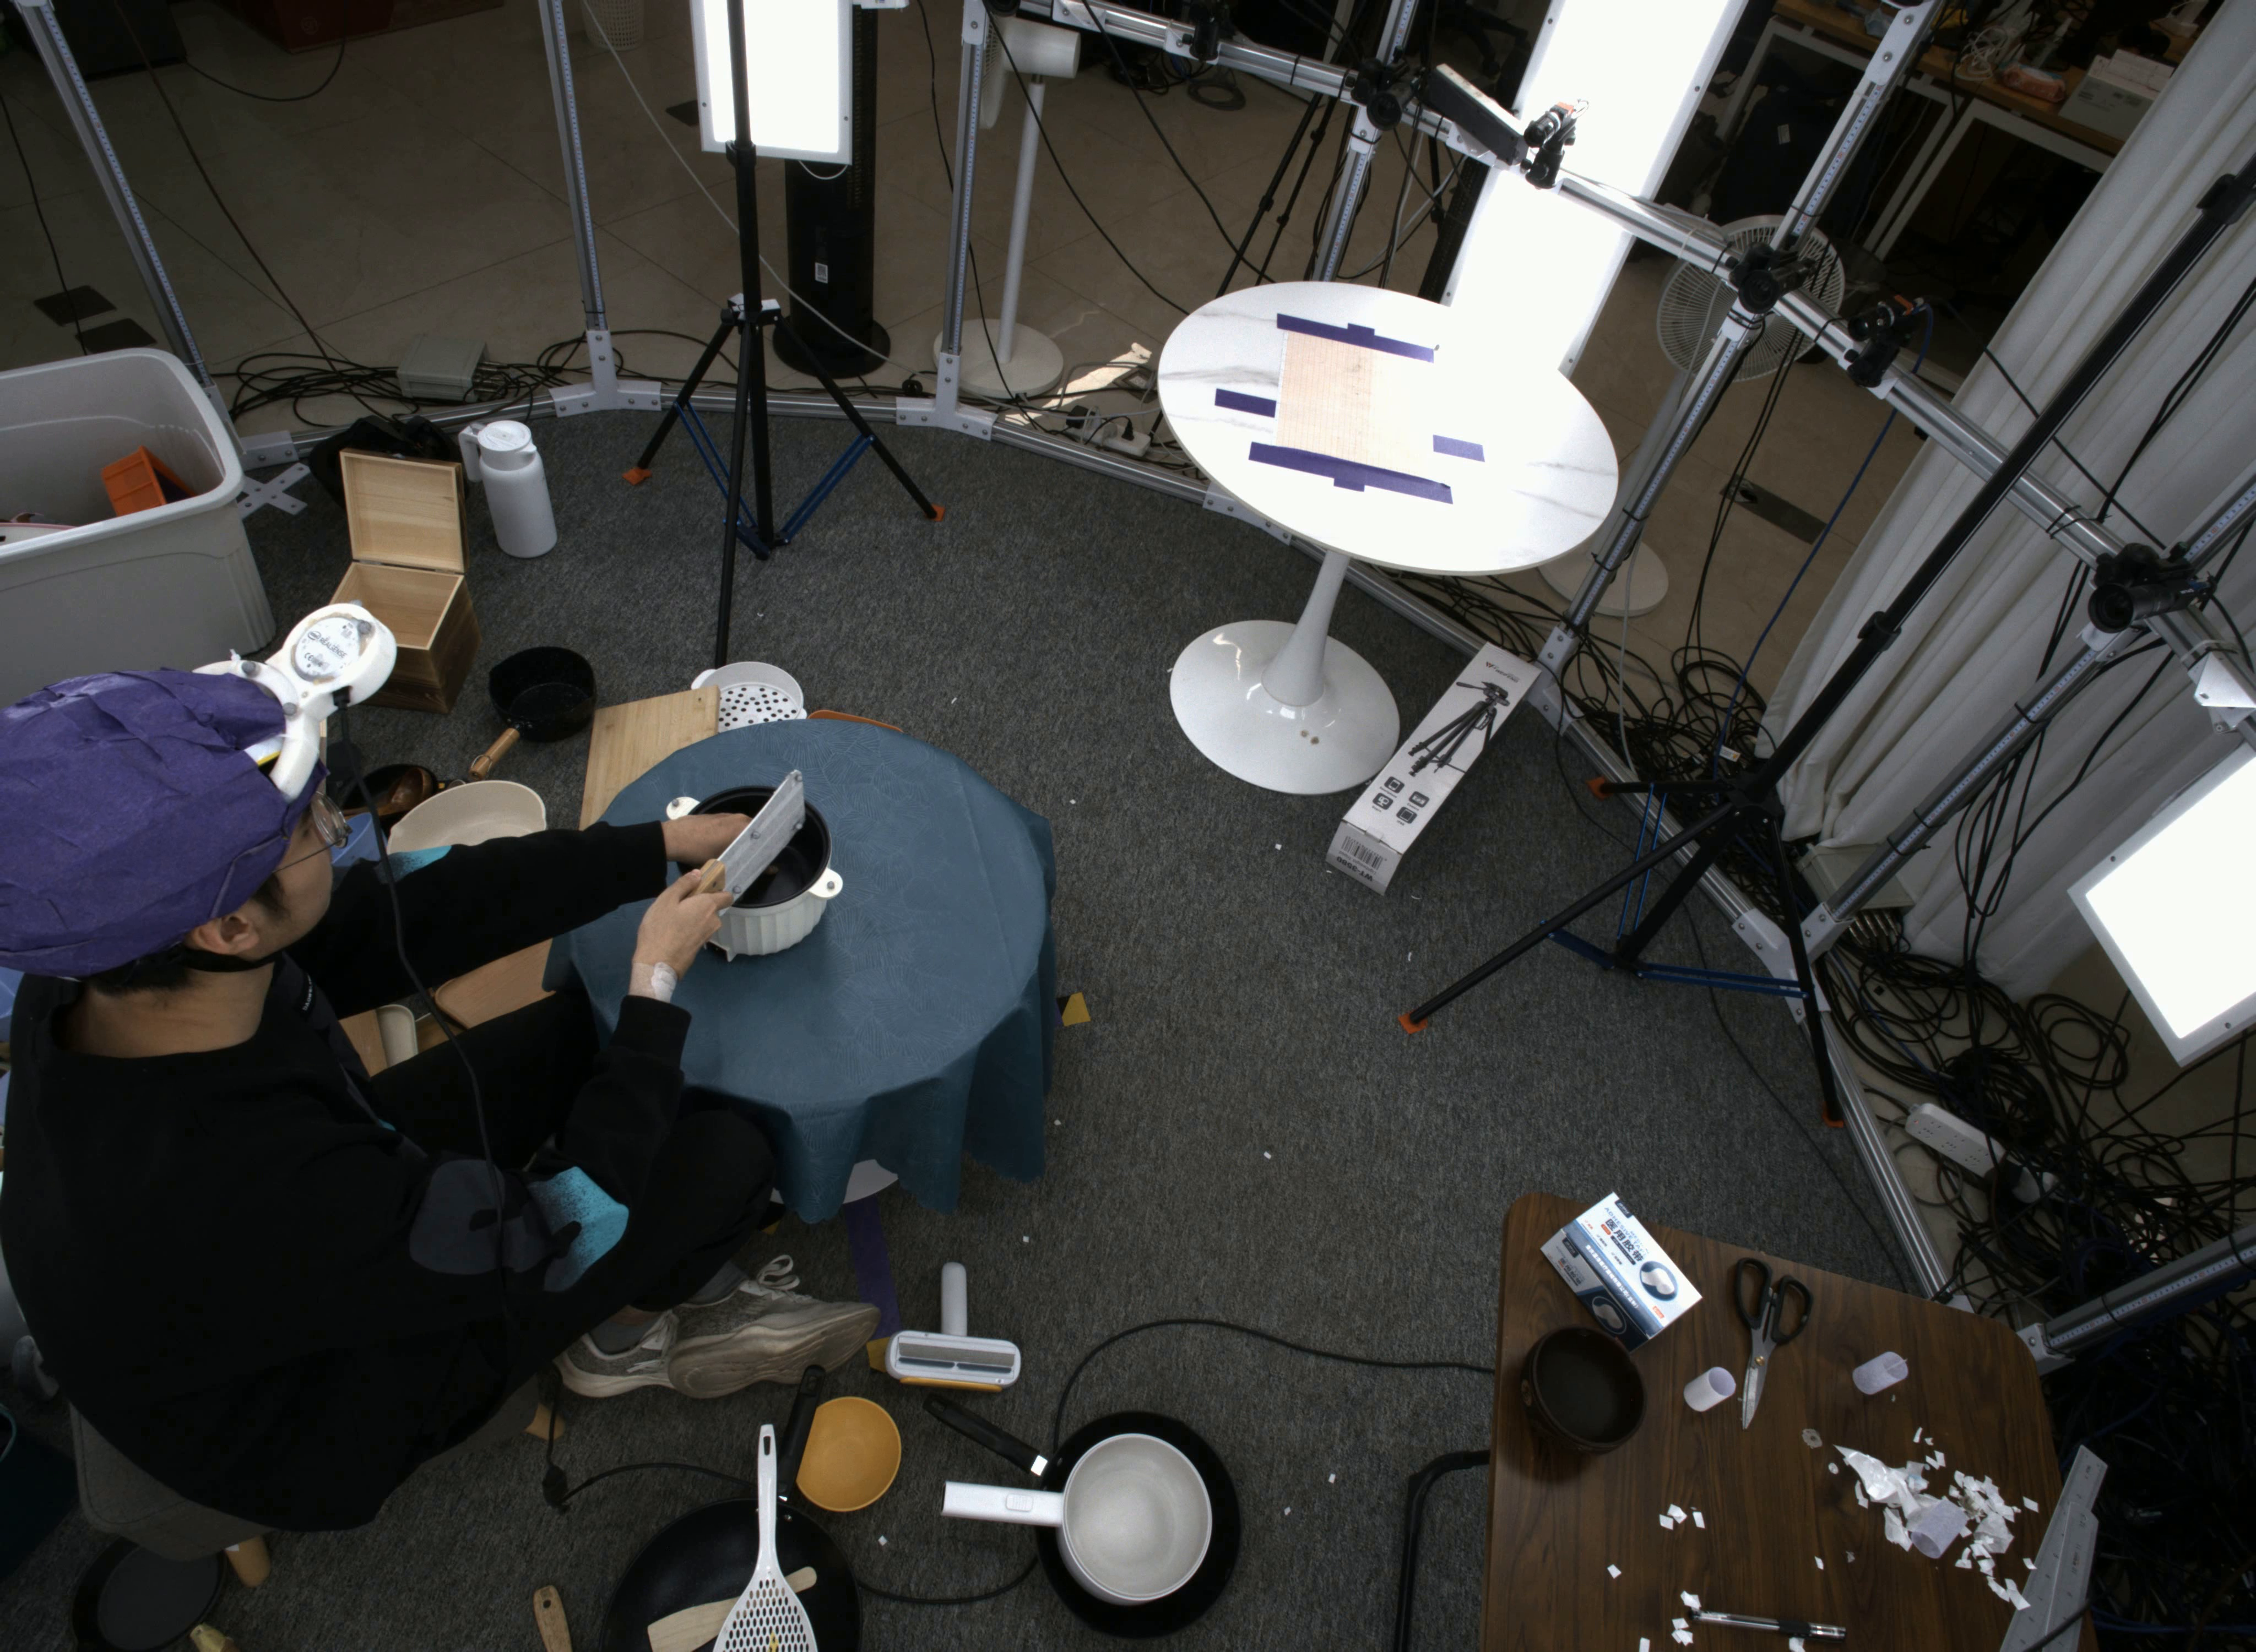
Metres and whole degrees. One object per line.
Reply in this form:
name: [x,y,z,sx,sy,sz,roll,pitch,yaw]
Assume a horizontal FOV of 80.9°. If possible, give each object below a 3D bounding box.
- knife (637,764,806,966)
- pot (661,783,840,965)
knife: [-0.440,0.042,1.425,0.021,0.117,0.313,19,39,11]
pot: [-0.454,0.056,1.573,0.237,0.145,0.189,26,54,5]
